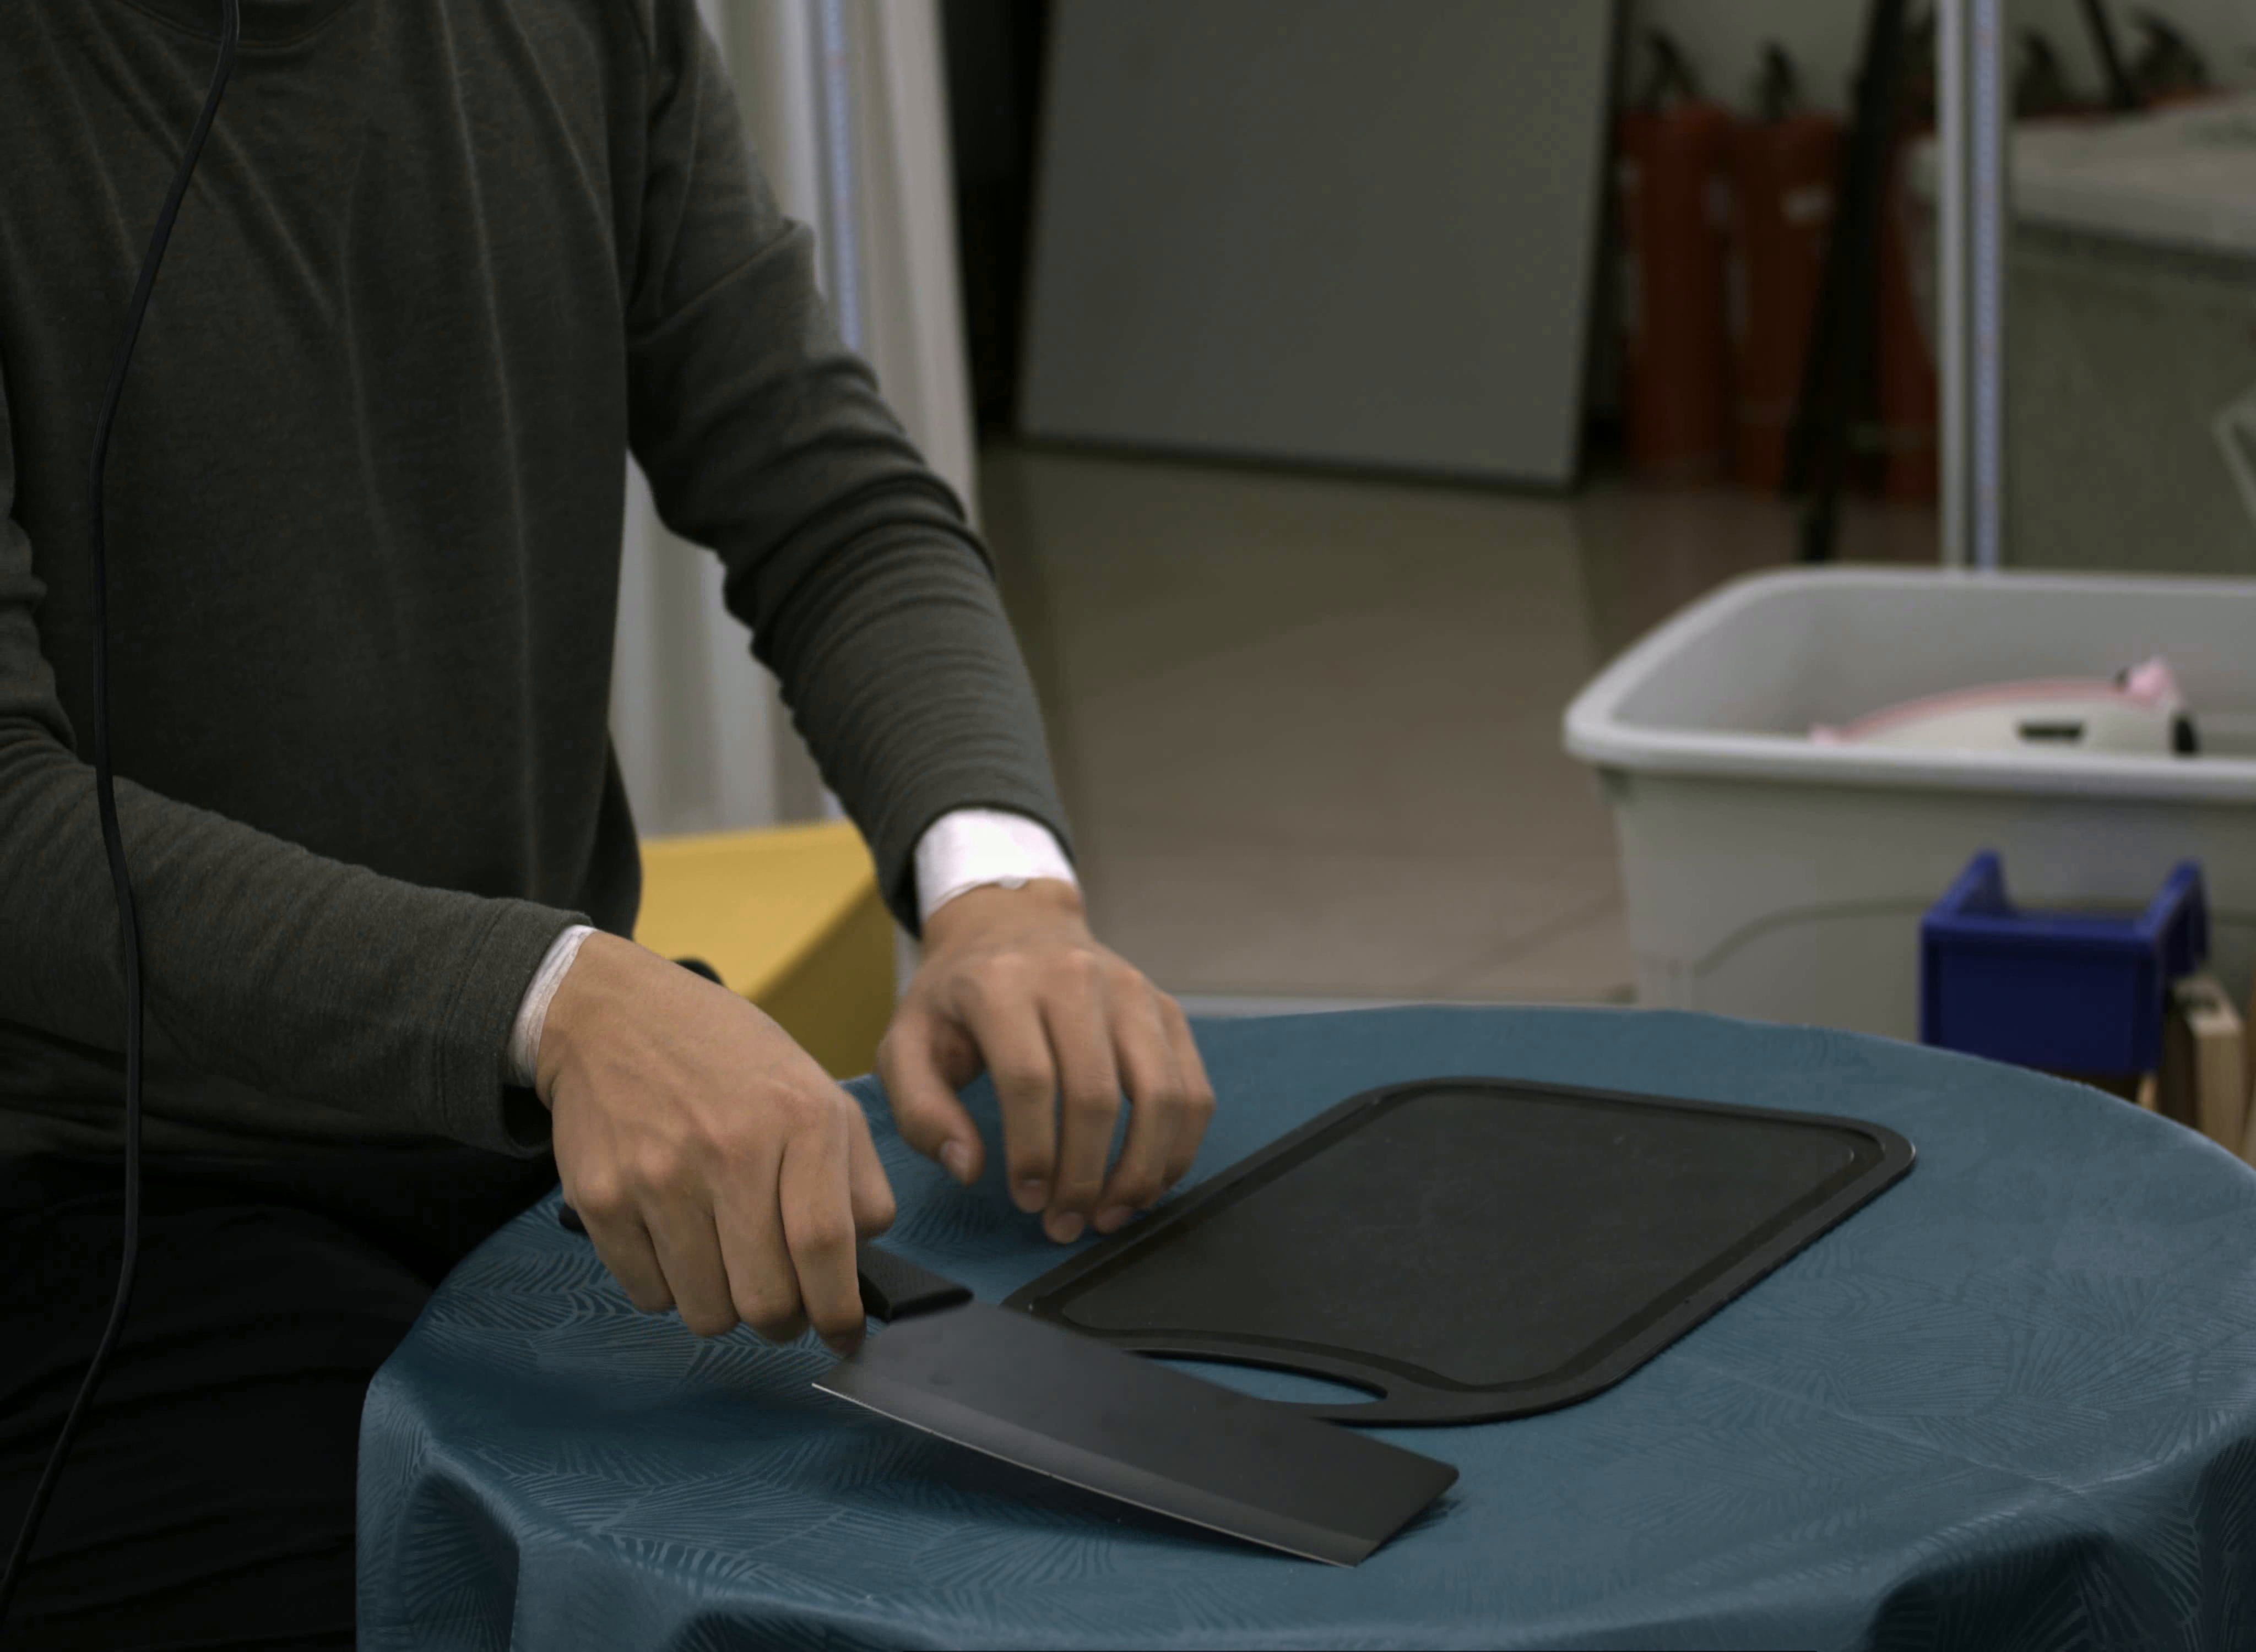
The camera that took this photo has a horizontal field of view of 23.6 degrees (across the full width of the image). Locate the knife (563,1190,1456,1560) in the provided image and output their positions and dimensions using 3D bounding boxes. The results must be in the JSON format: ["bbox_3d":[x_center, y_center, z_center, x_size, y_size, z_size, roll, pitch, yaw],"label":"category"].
[{"bbox_3d":[-0.045,0.155,1.542,0.304,0.021,0.079,17,27,36],"label":"knife"}]

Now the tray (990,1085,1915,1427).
[{"bbox_3d":[0.103,0.131,1.693,0.212,0.010,0.320,4,16,33],"label":"tray"}]
